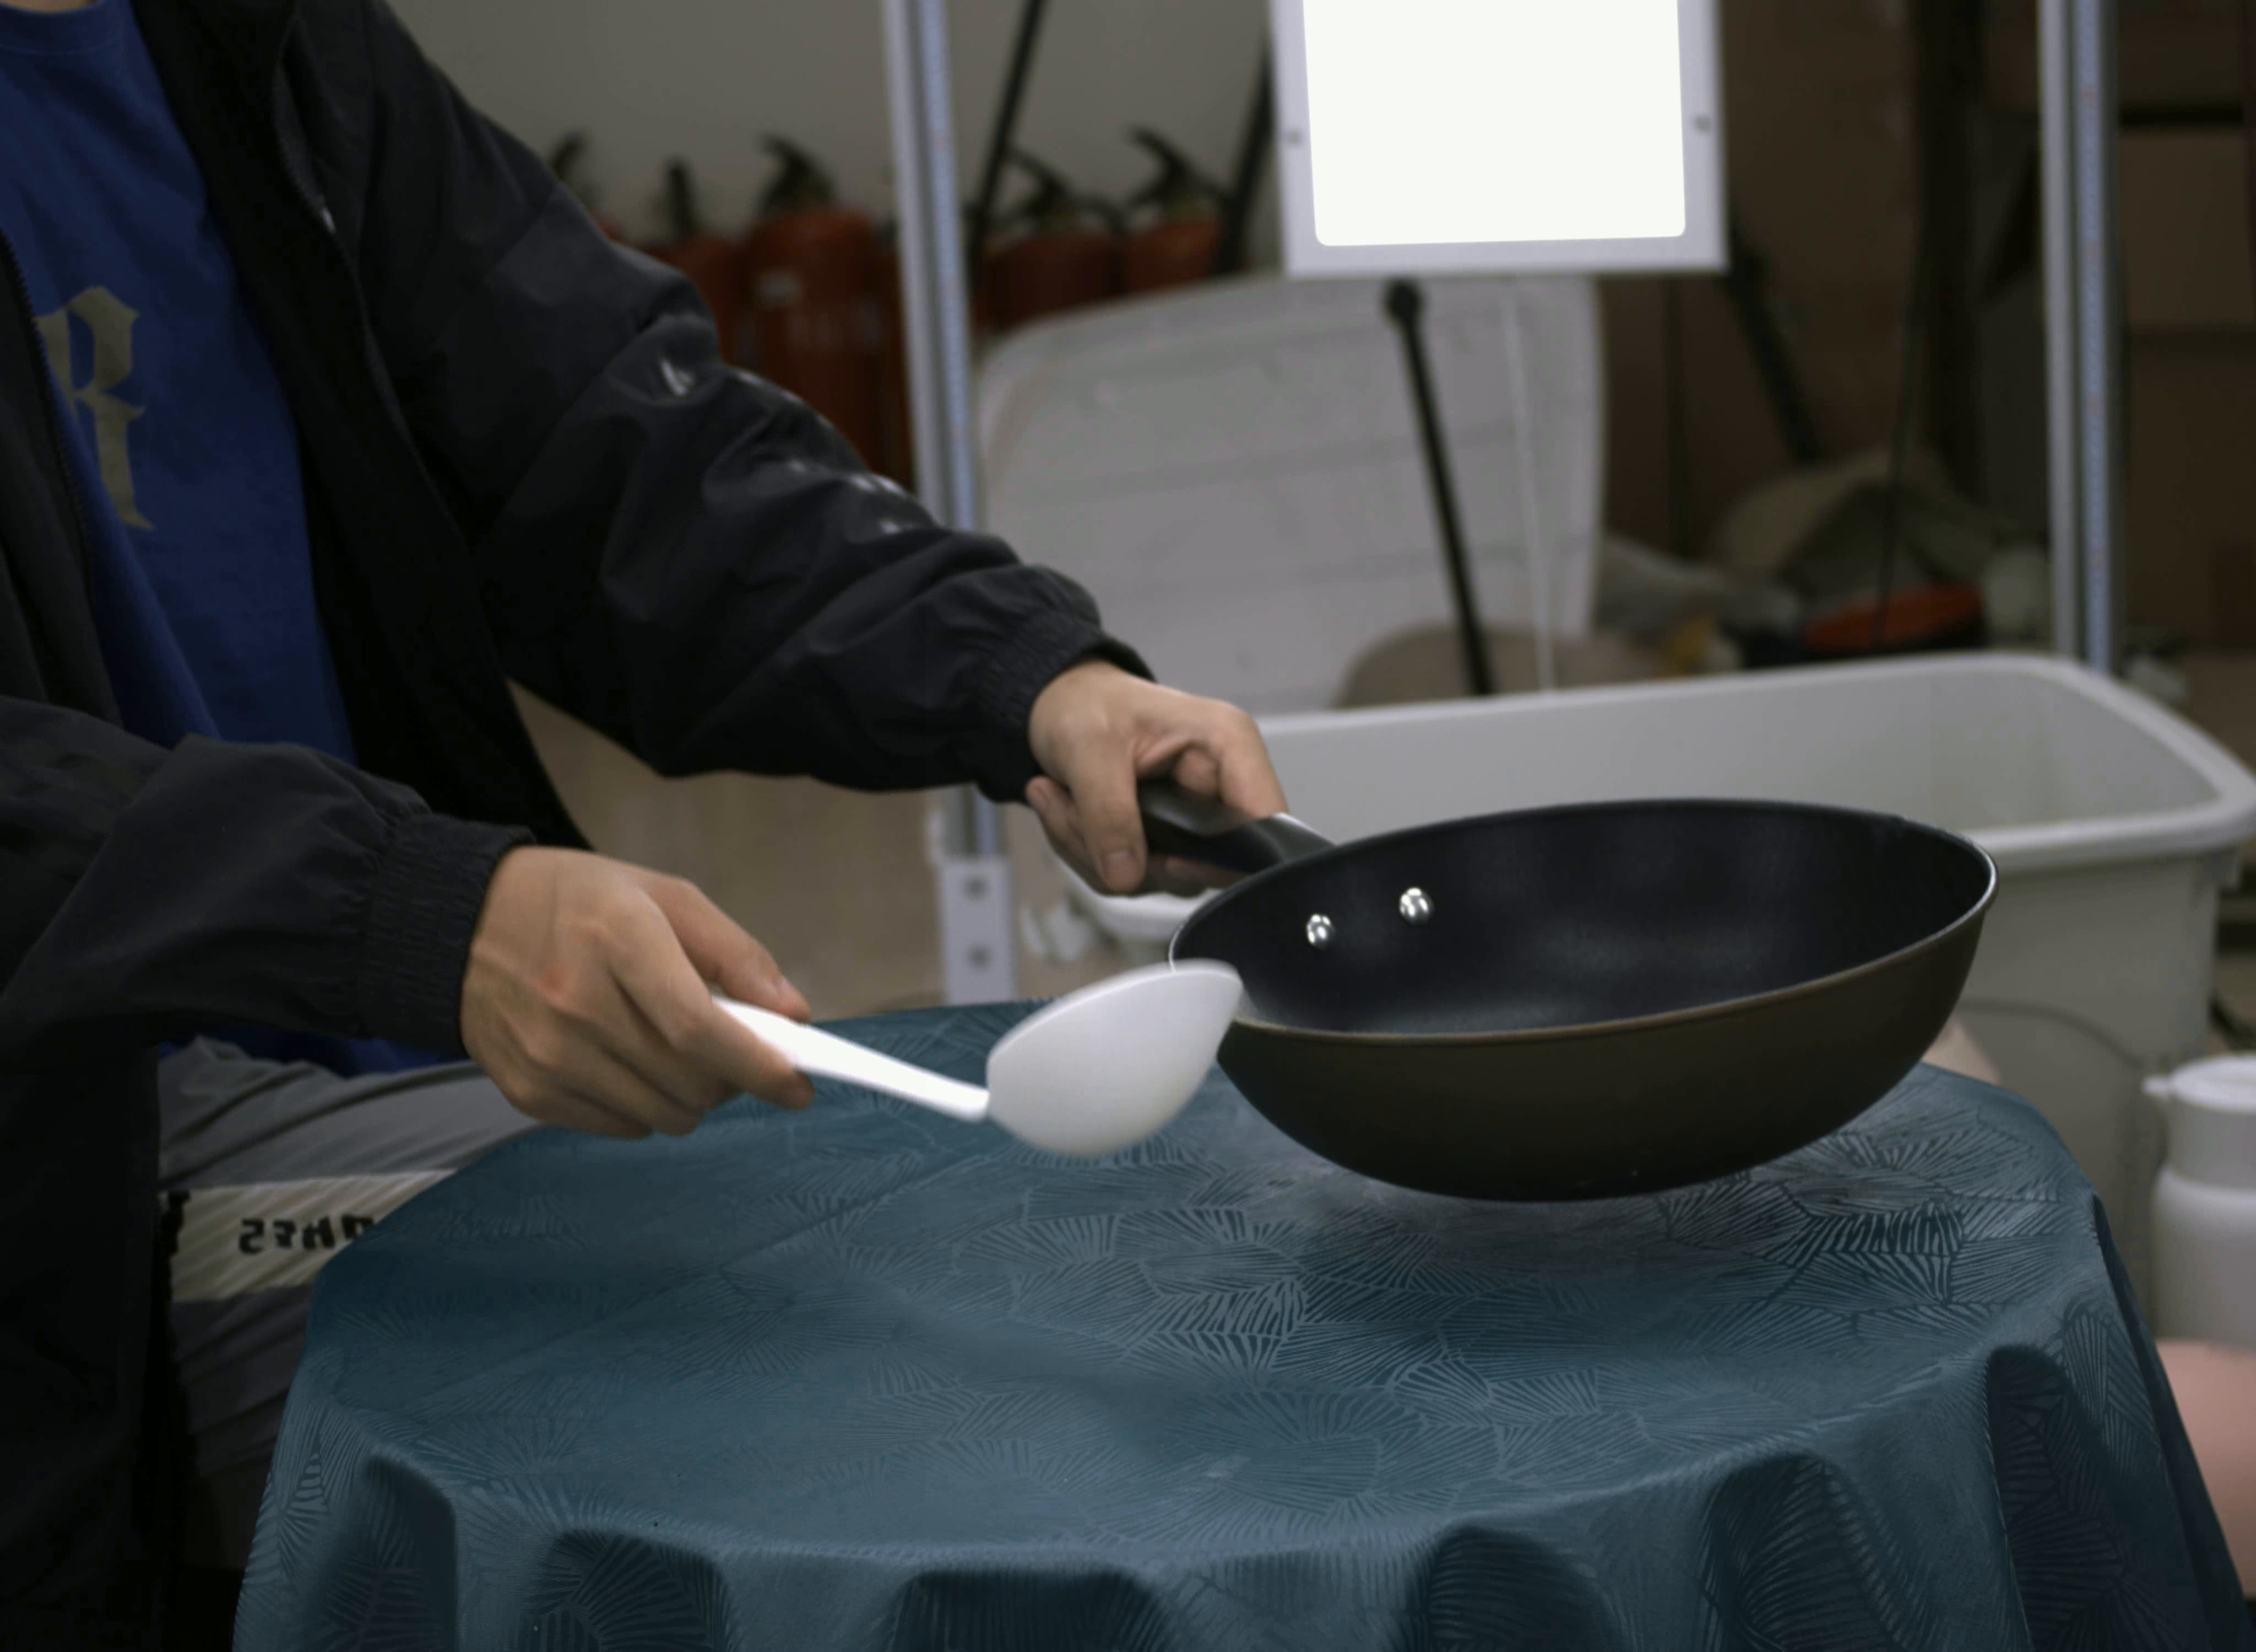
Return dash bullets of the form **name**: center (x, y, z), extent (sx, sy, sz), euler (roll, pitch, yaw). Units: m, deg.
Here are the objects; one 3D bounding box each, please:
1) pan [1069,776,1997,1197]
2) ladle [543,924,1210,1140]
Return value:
- **pan**: center (0.106, 0.050, 1.921), extent (0.281, 0.087, 0.472), euler (-15, 15, -29)
- **ladle**: center (-0.091, 0.056, 1.785), extent (0.088, 0.070, 0.299), euler (-13, 13, -41)
